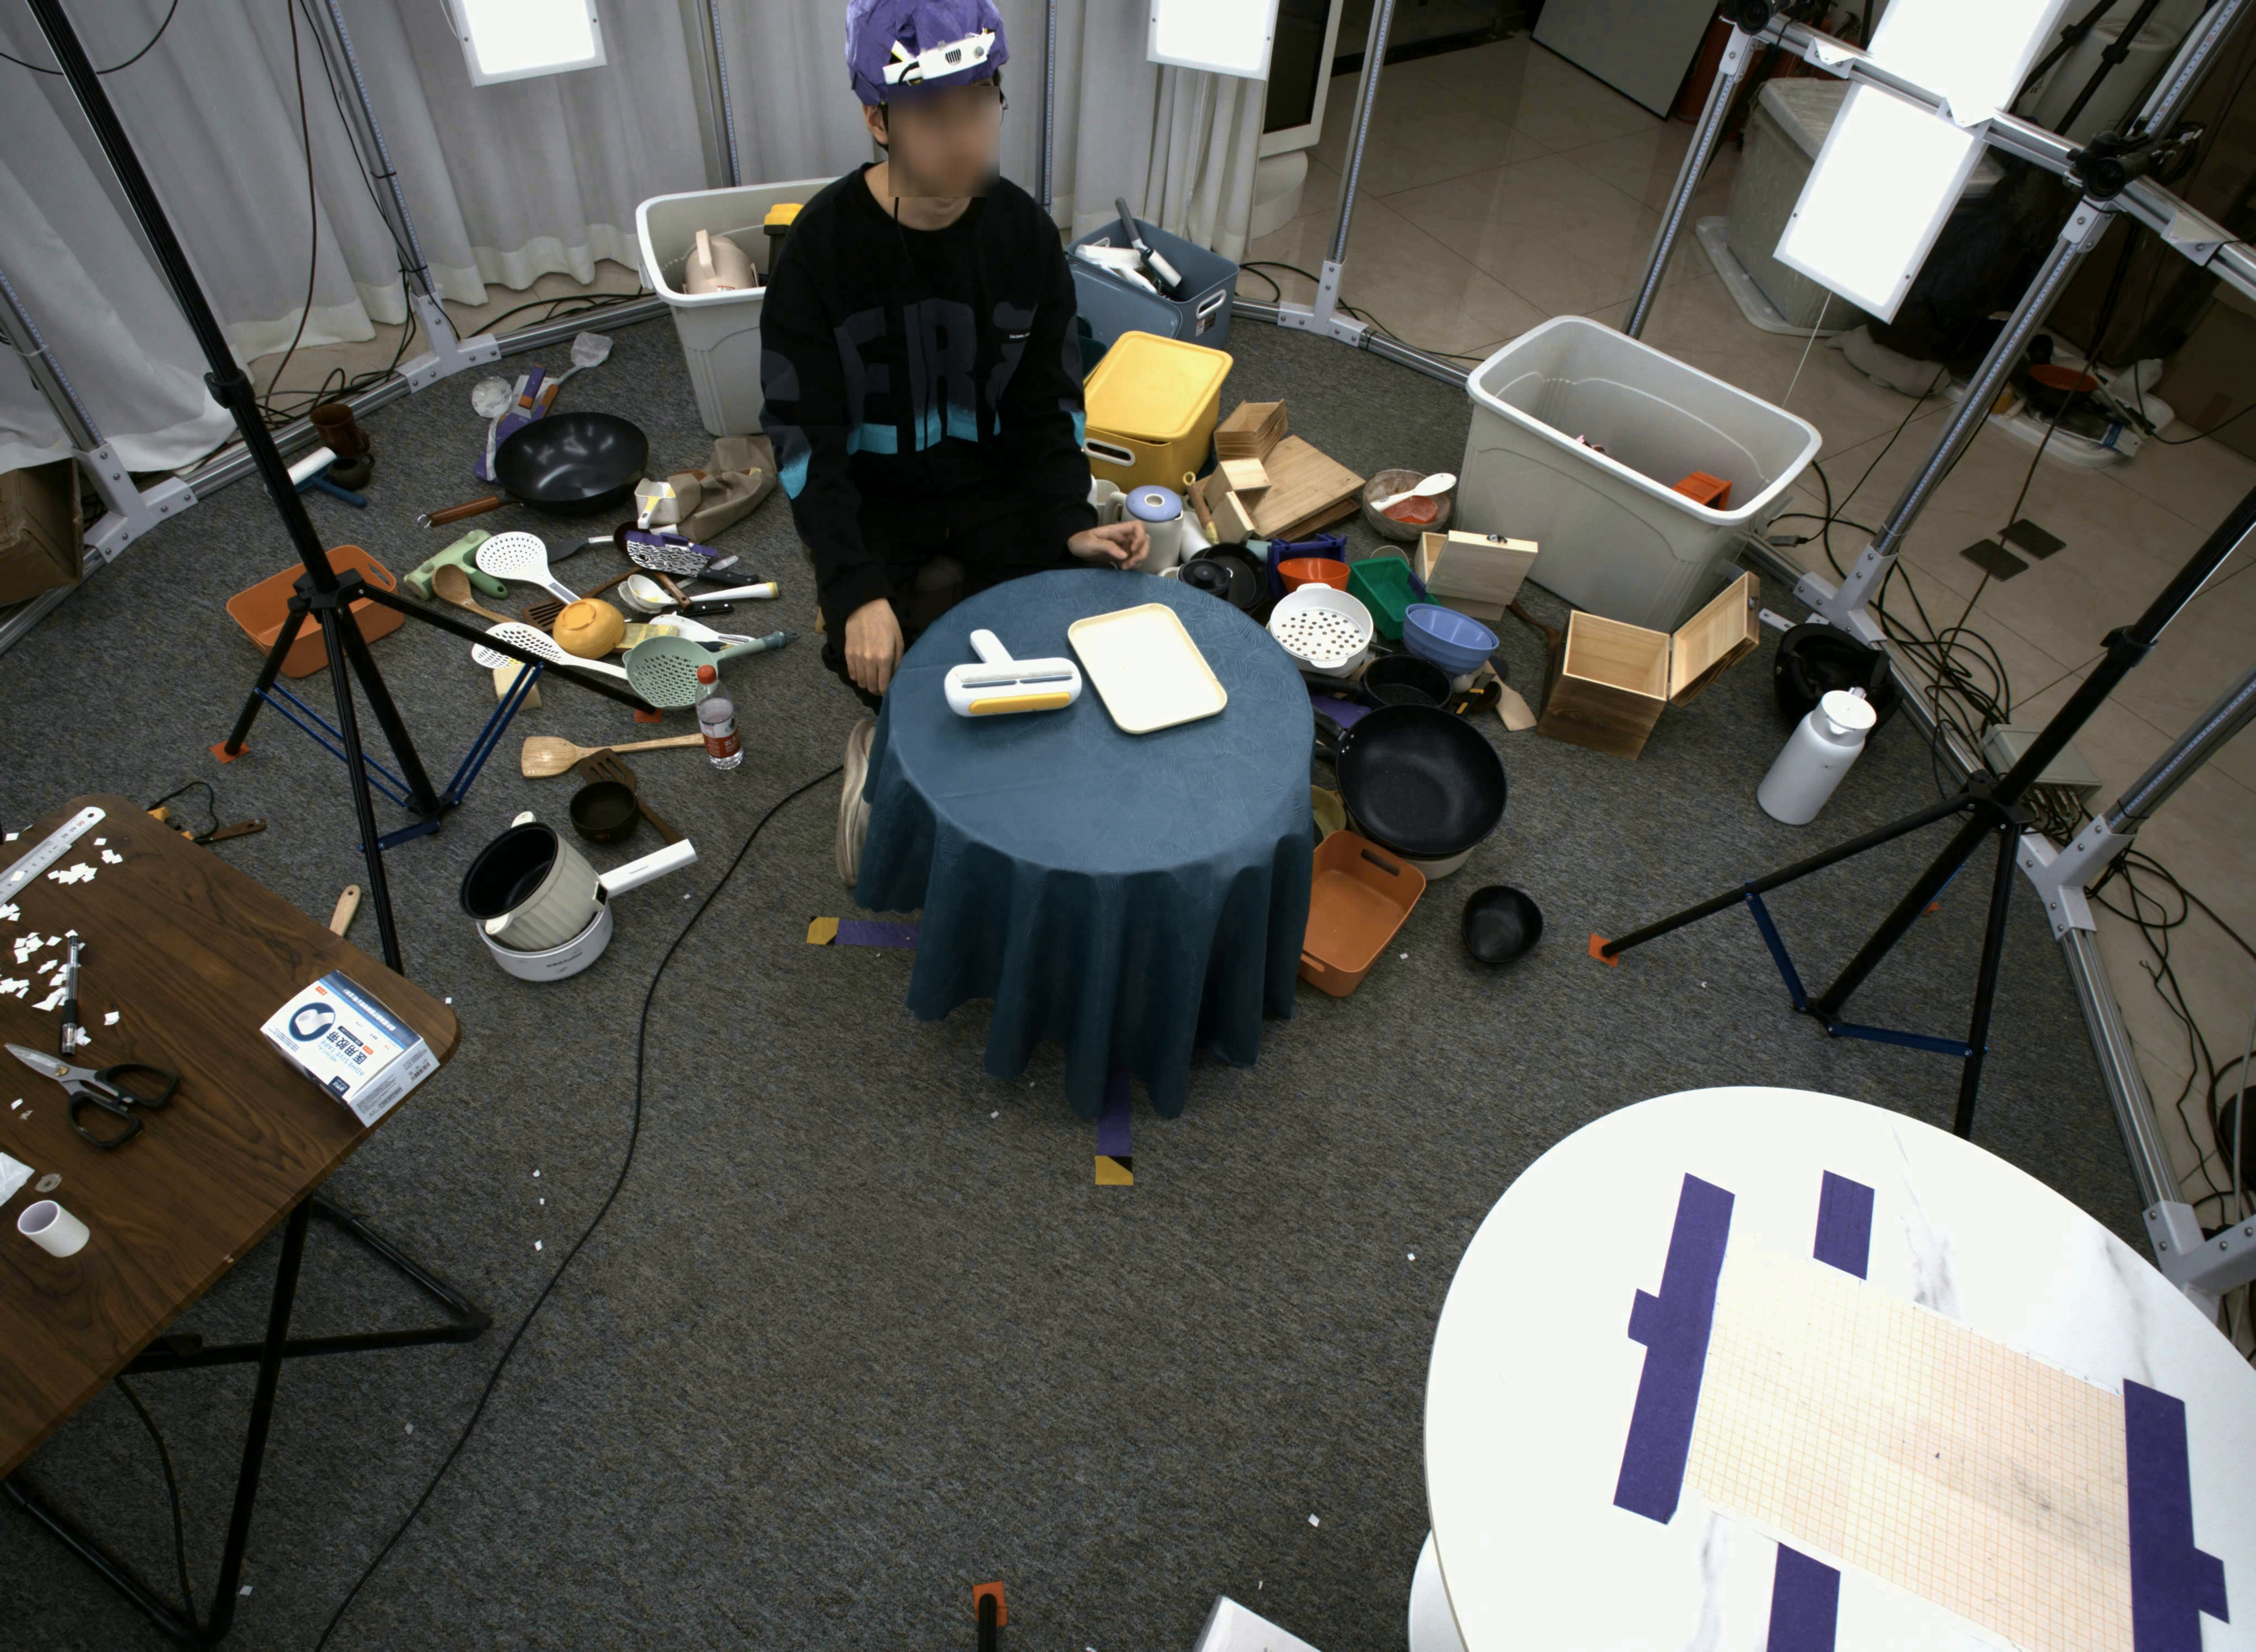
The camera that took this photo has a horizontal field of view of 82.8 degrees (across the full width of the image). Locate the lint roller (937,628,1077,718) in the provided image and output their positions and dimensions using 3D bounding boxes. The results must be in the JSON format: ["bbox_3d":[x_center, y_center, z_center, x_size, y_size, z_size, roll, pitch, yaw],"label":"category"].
[{"bbox_3d":[-0.183,-0.229,1.812,0.192,0.072,0.197,-7,48,-17],"label":"lint roller"}]

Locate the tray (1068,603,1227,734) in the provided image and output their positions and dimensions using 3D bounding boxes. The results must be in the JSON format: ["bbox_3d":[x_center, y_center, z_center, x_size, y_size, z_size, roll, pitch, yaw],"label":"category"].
[{"bbox_3d":[0.026,-0.230,1.857,0.171,0.017,0.245,-16,52,-16],"label":"tray"}]
